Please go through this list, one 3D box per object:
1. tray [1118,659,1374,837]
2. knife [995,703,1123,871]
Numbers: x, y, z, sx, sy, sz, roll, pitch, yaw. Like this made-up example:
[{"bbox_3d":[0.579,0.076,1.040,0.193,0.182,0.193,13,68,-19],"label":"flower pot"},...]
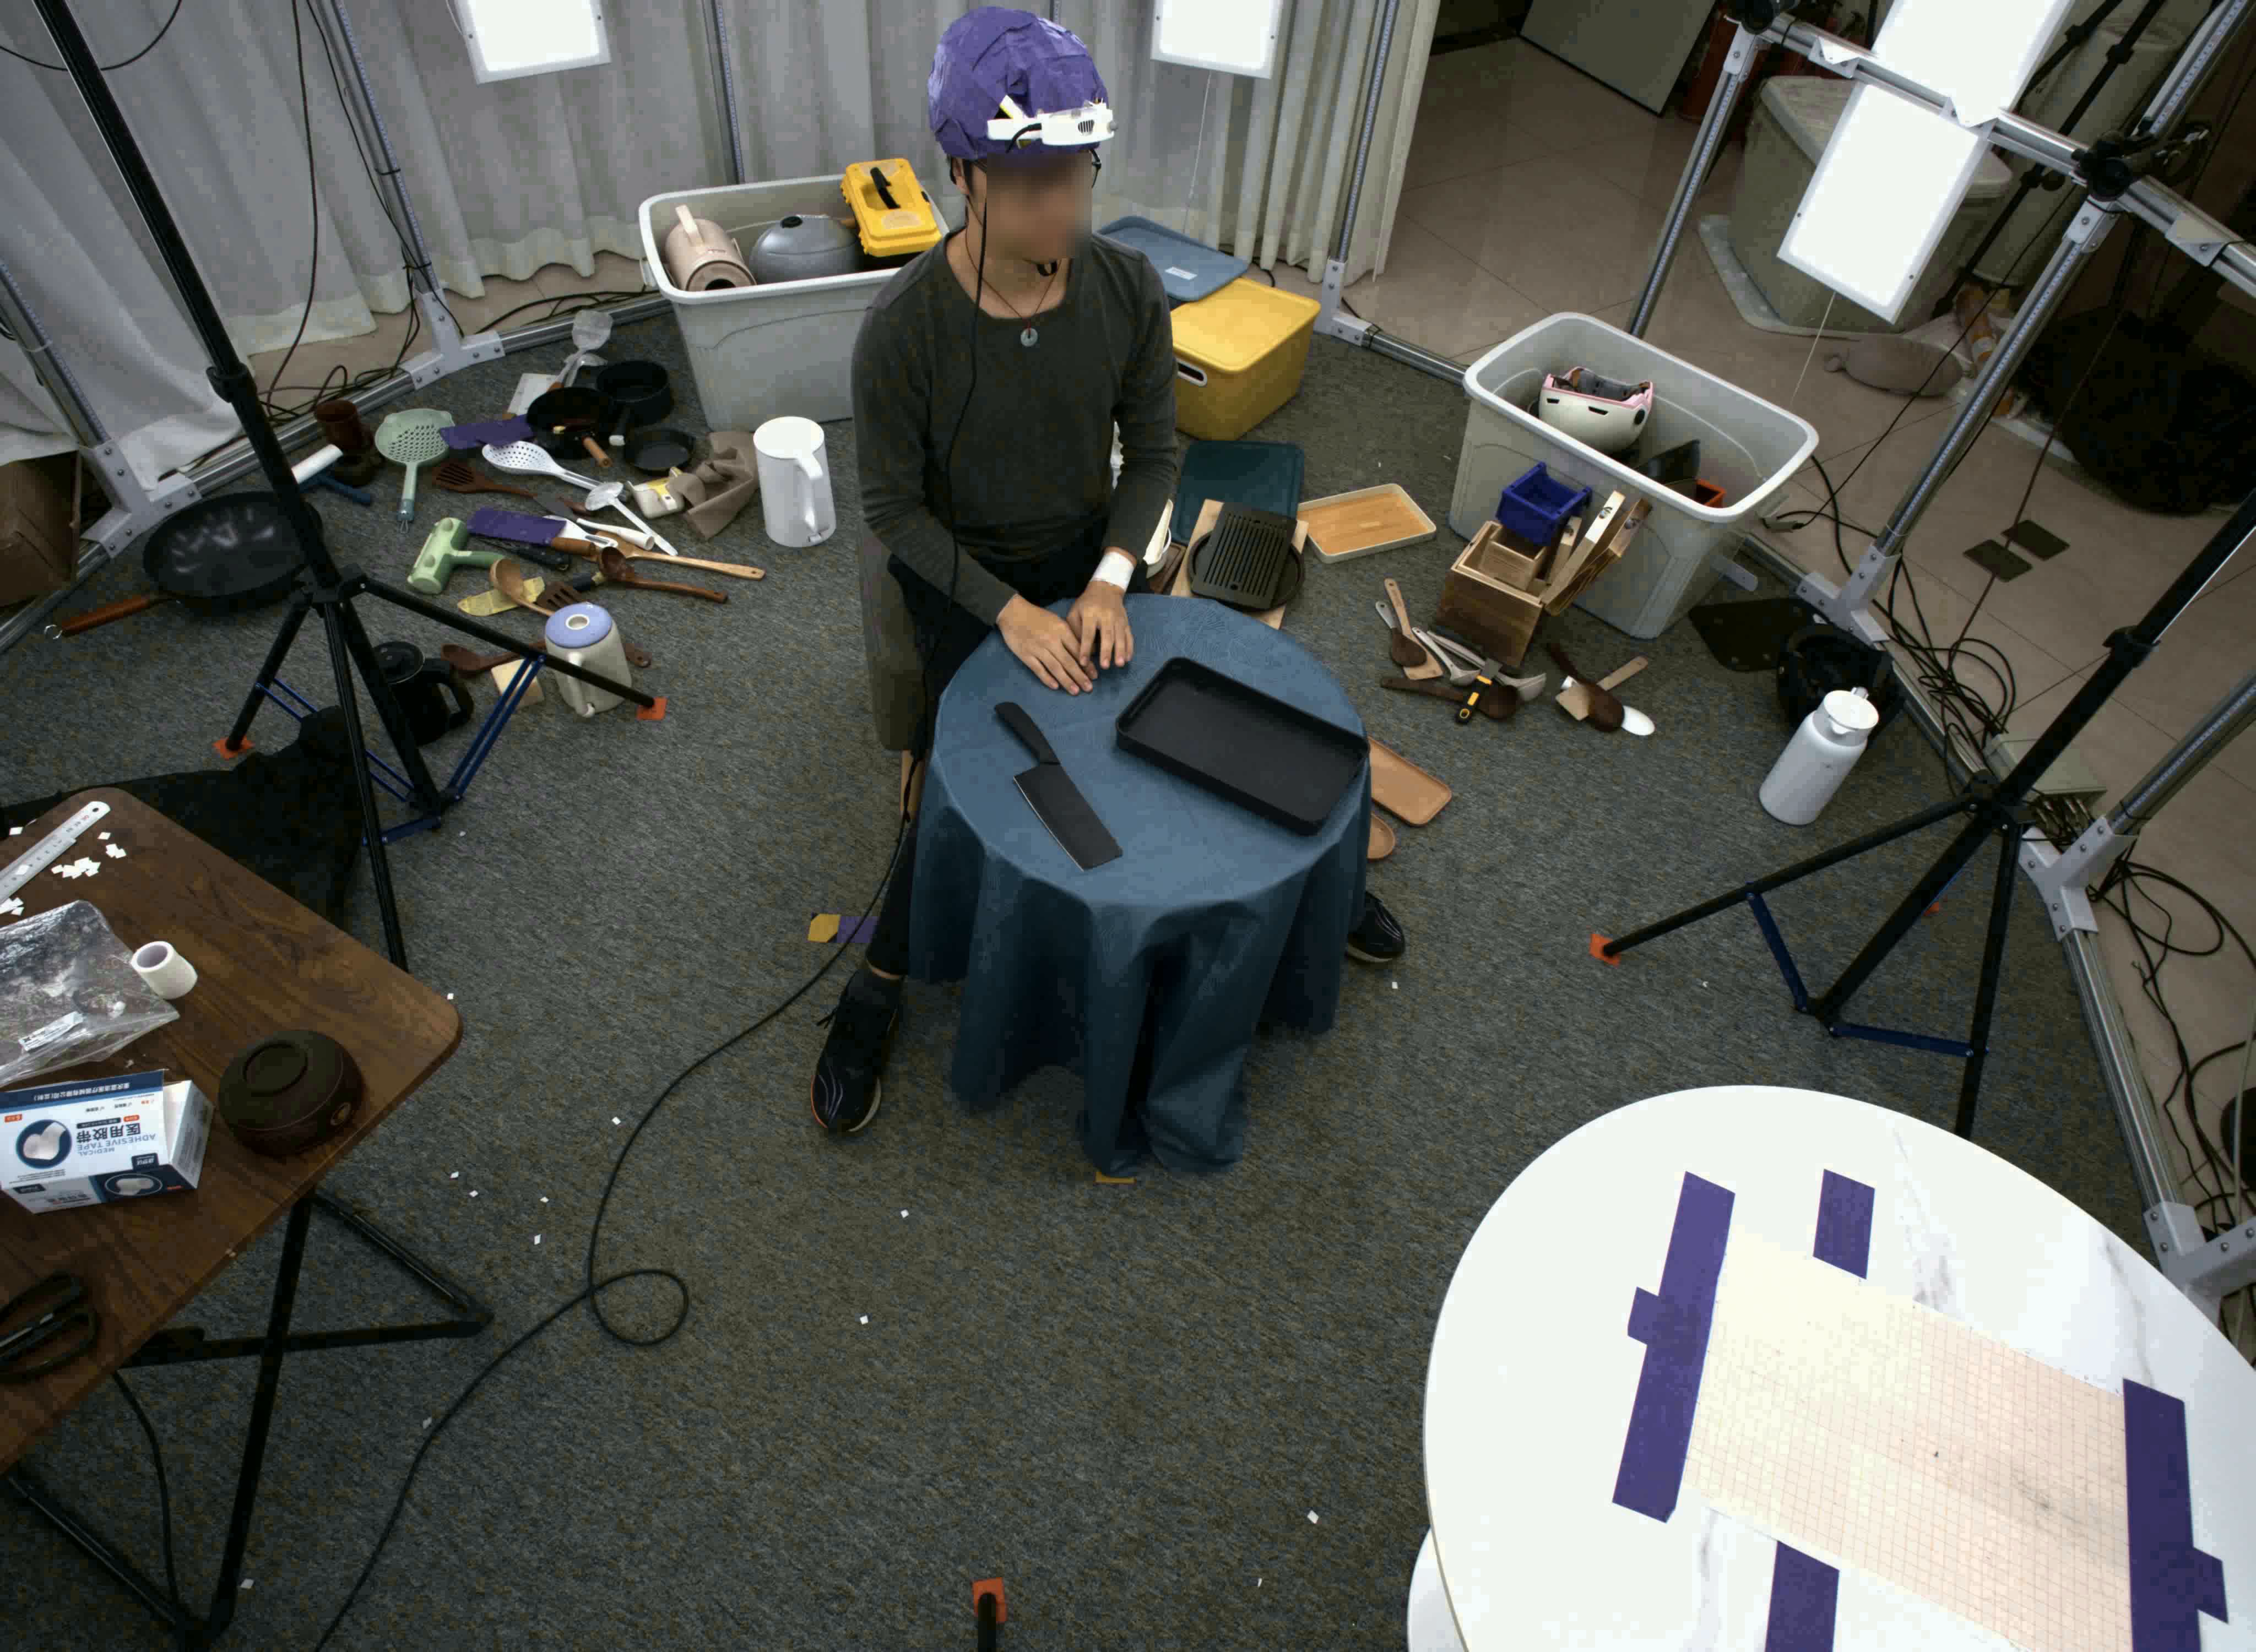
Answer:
[{"bbox_3d":[0.159,-0.111,1.752,0.320,0.036,0.187,25,52,17],"label":"tray"},{"bbox_3d":[-0.106,-0.058,1.702,0.081,0.020,0.309,-19,55,-18],"label":"knife"}]
